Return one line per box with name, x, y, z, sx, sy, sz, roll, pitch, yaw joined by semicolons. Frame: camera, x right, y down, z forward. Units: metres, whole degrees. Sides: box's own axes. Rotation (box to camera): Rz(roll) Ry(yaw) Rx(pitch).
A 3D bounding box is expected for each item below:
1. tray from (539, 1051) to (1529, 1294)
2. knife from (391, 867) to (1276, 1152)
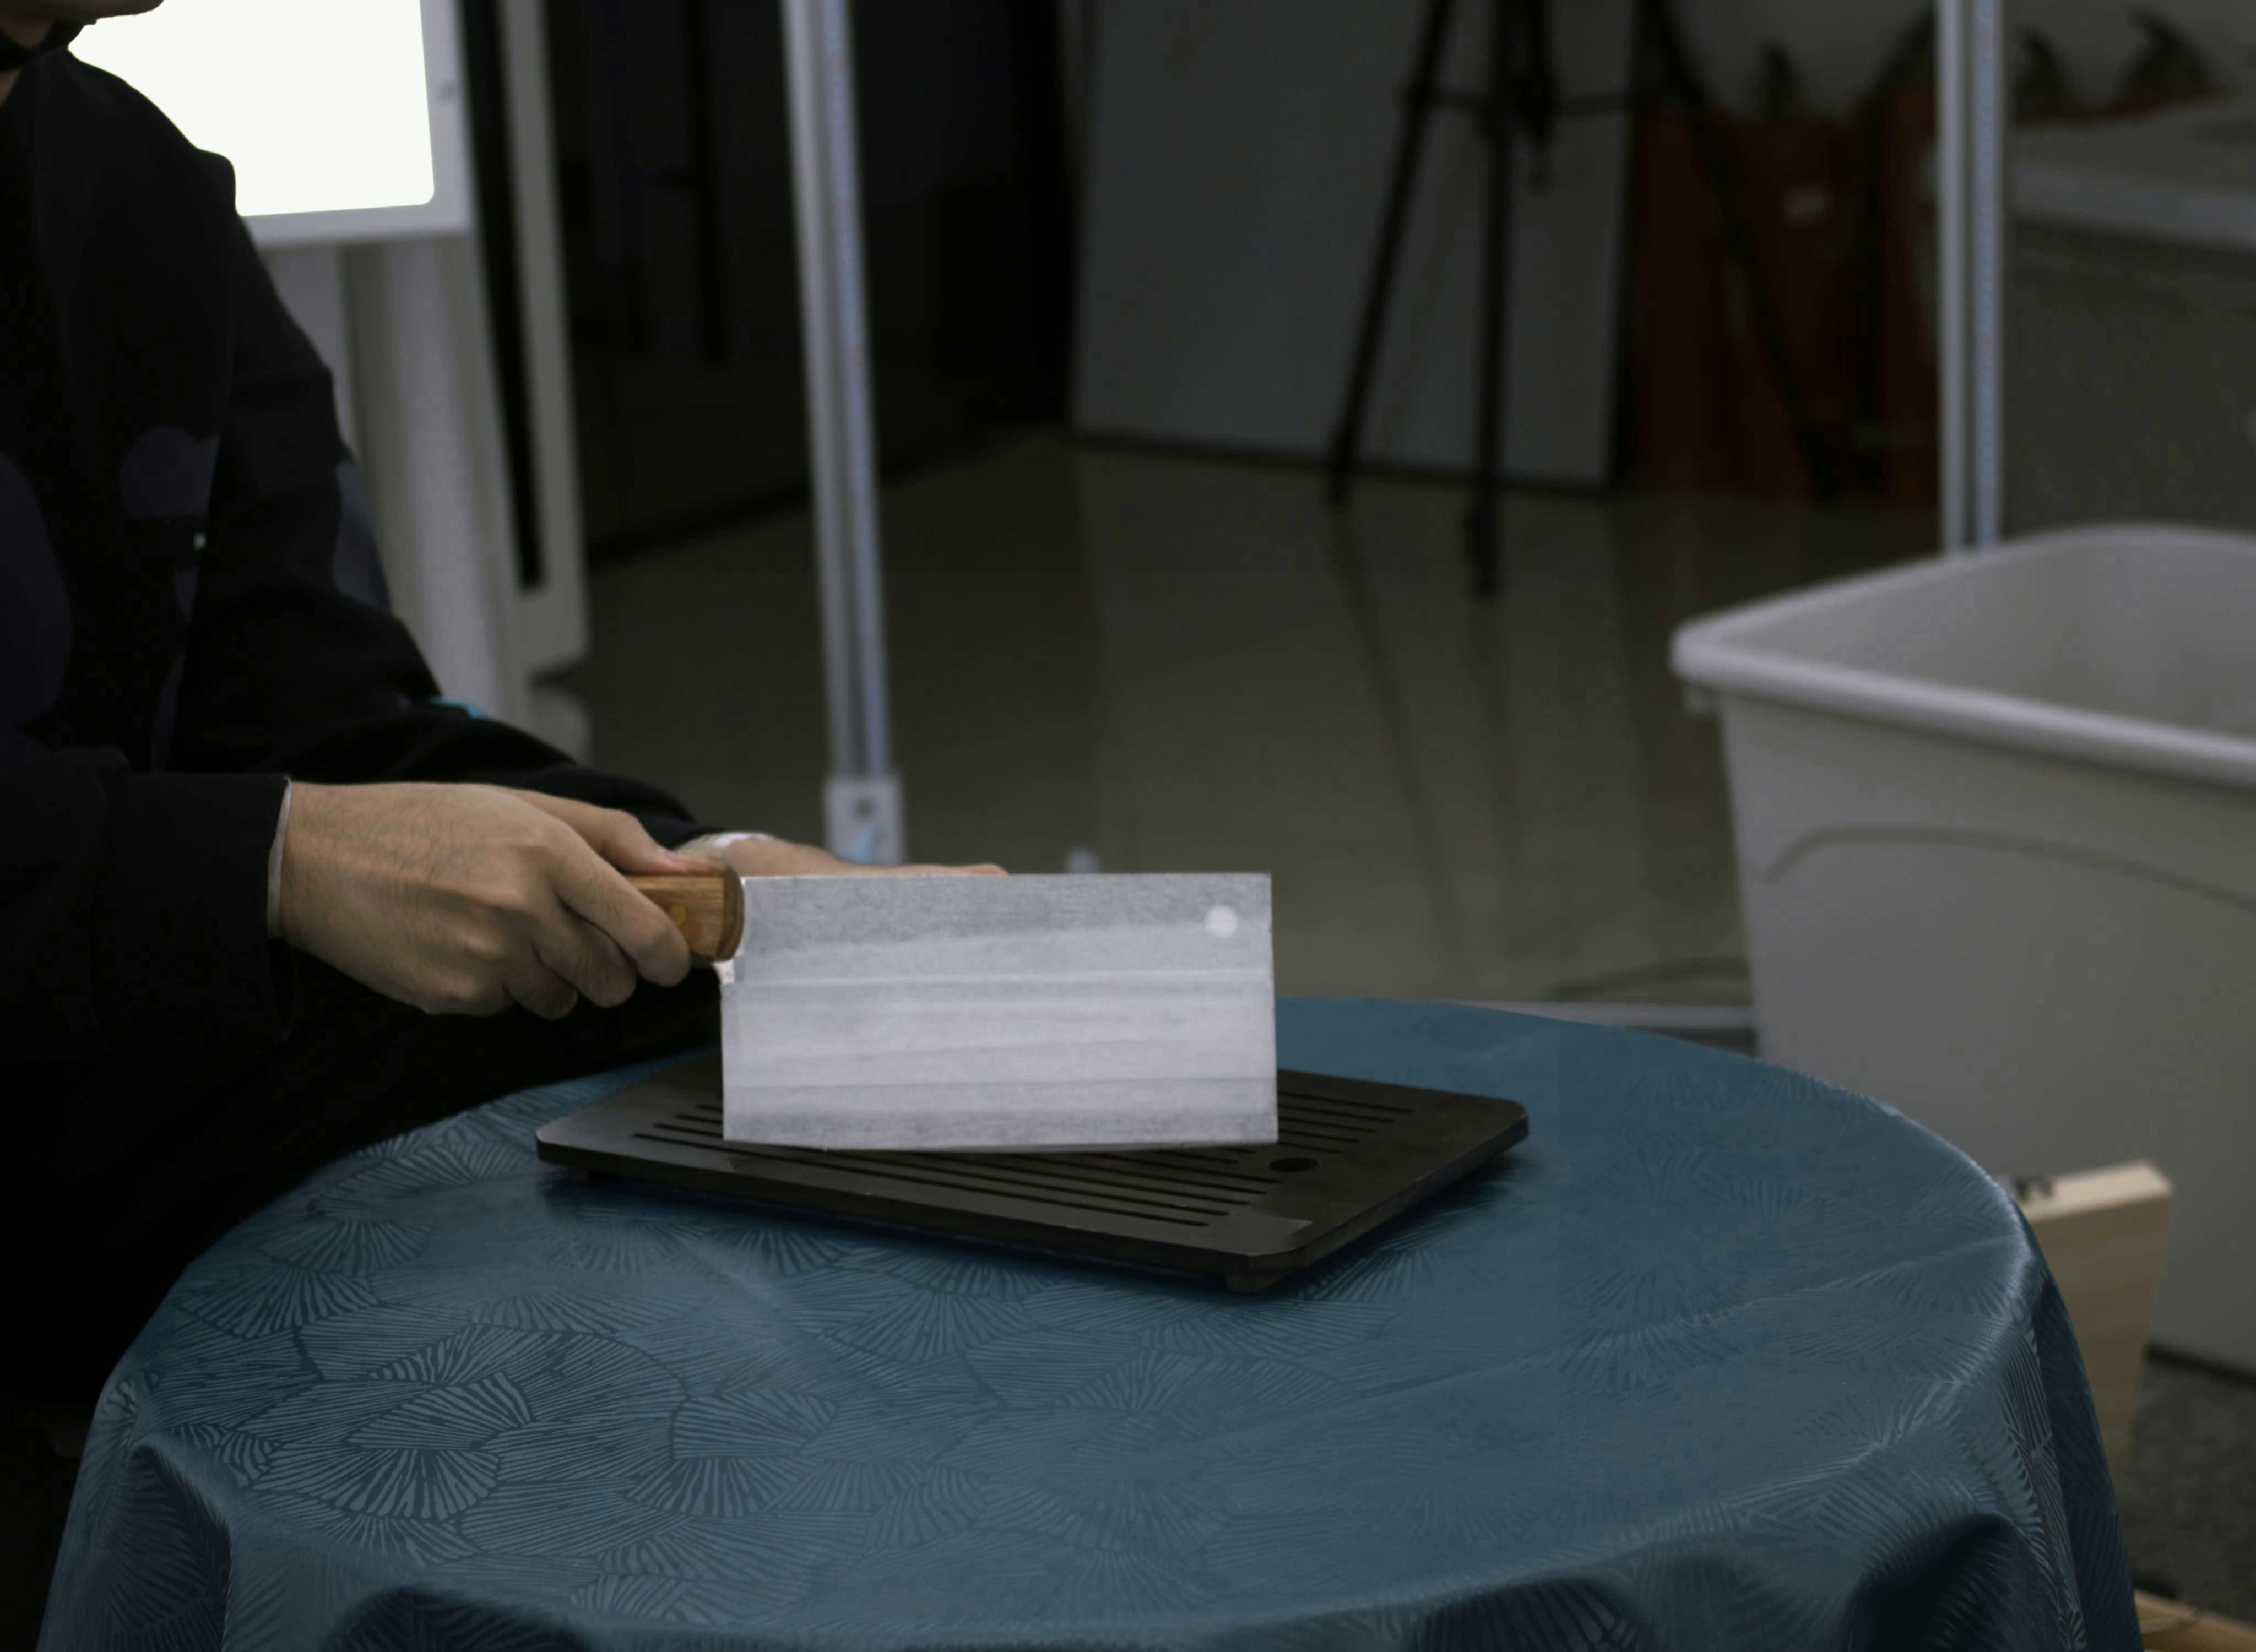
tray;-0.033;0.106;1.801;0.308;0.019;0.167;6;17;35
knife;-0.099;0.060;1.772;0.304;0.094;0.021;-1;3;16
